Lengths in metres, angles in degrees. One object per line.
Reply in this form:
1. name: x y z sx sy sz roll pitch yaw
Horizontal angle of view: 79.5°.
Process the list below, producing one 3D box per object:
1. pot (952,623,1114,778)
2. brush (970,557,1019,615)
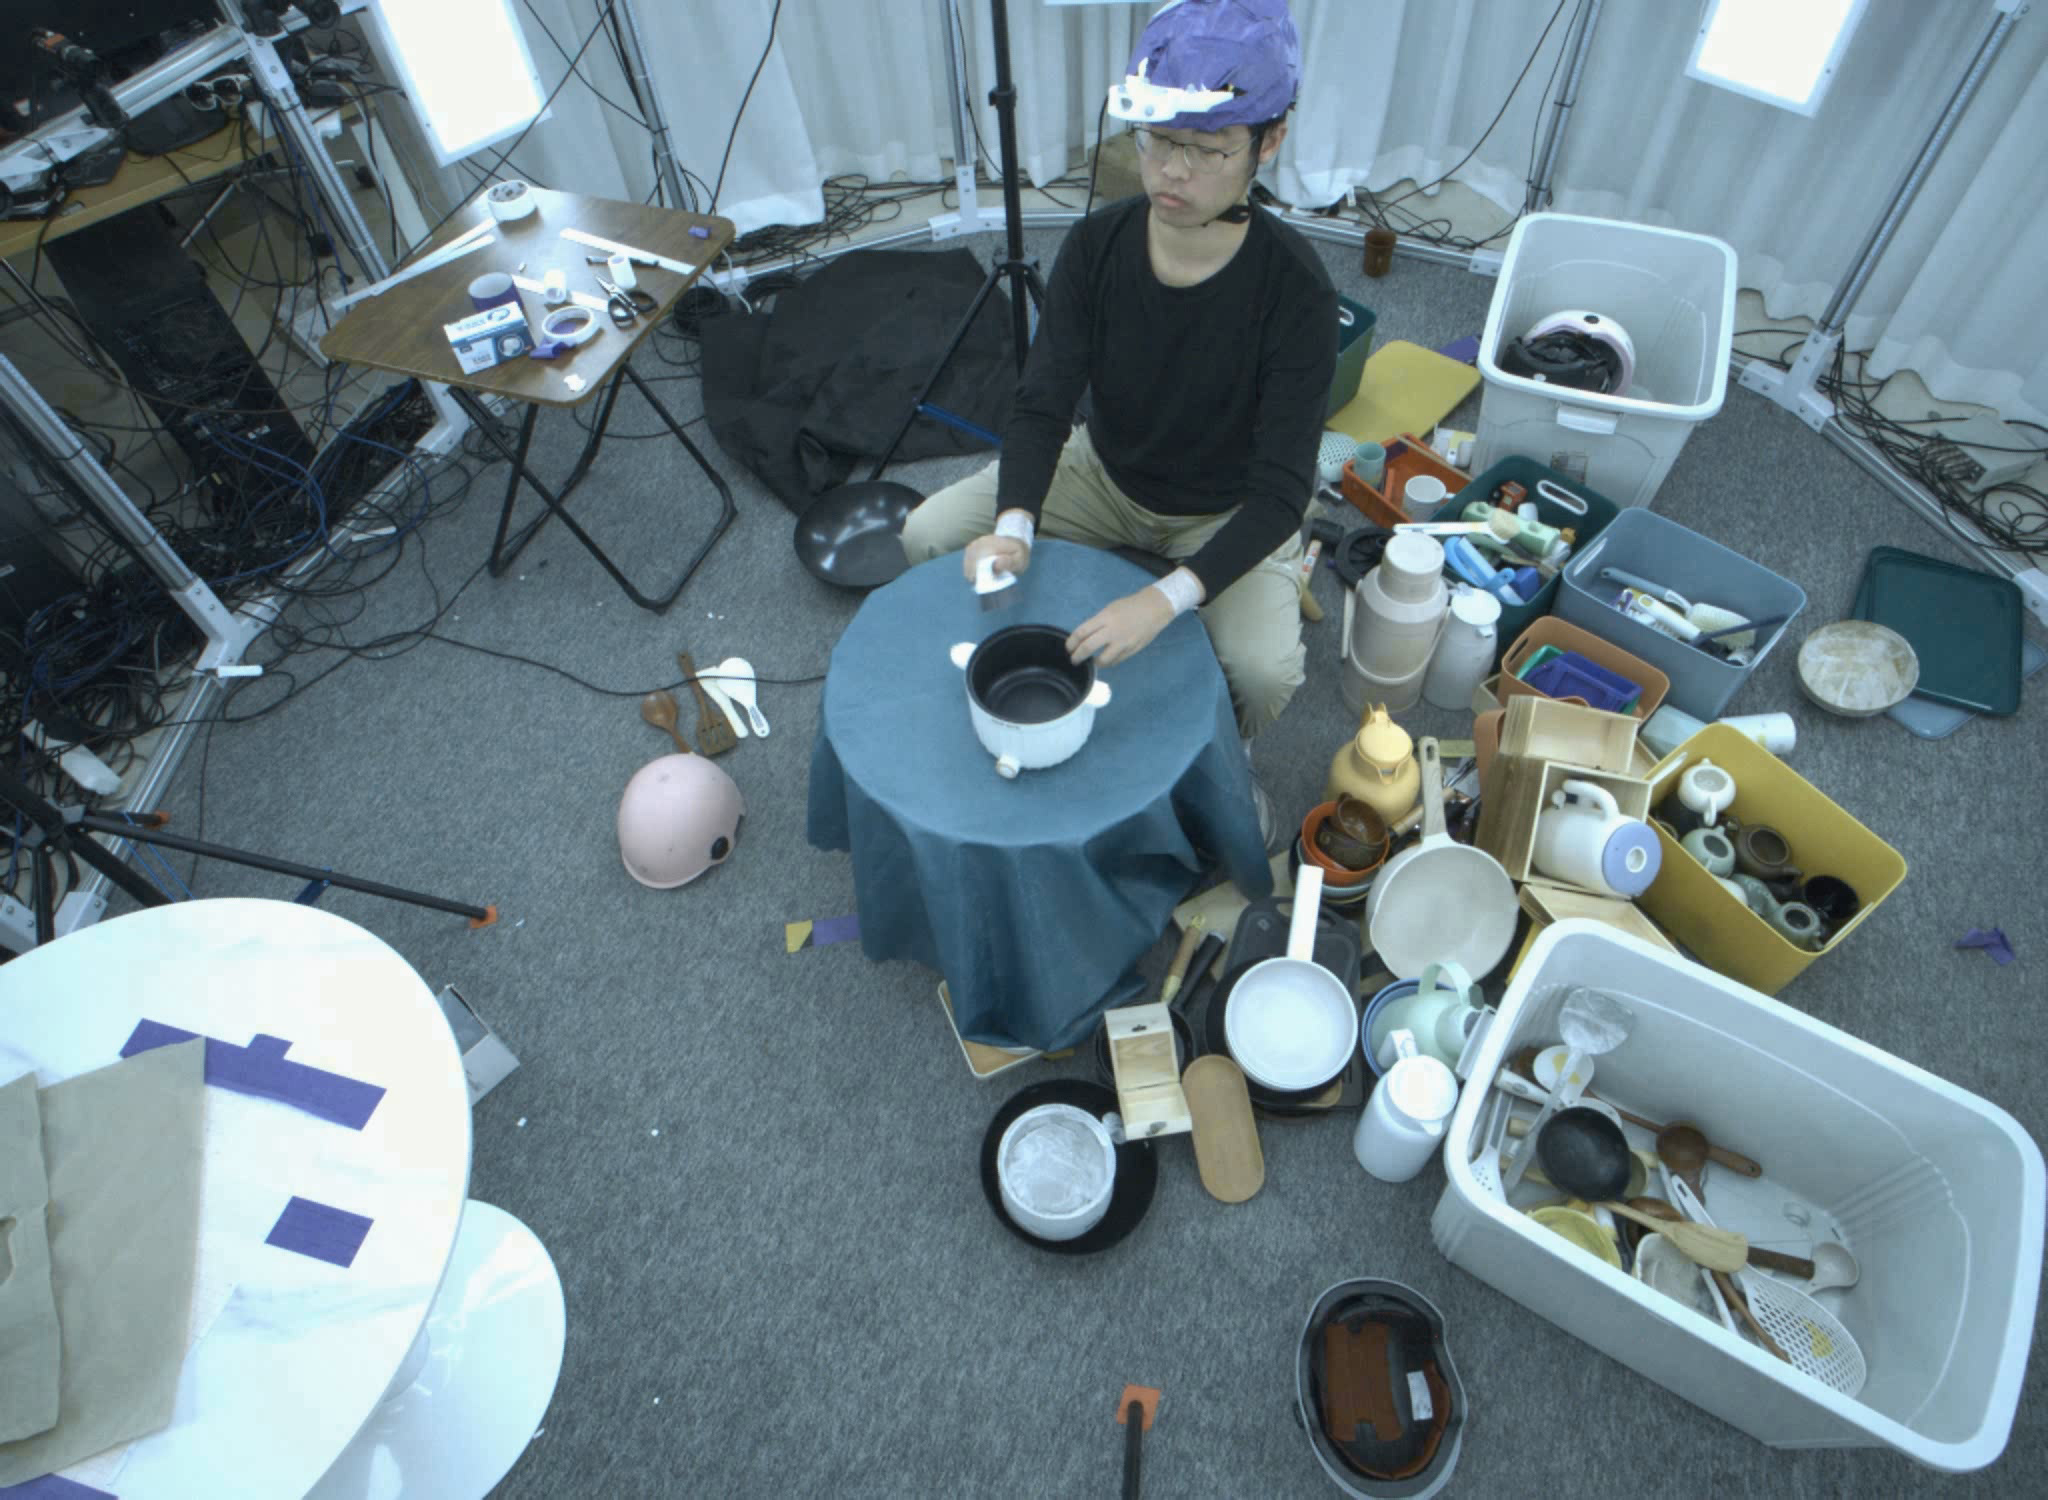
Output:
1. pot: 0.013 -0.065 1.748 0.238 0.144 0.190 16 54 15
2. brush: -0.047 -0.236 1.729 0.049 0.073 0.100 -10 13 22
